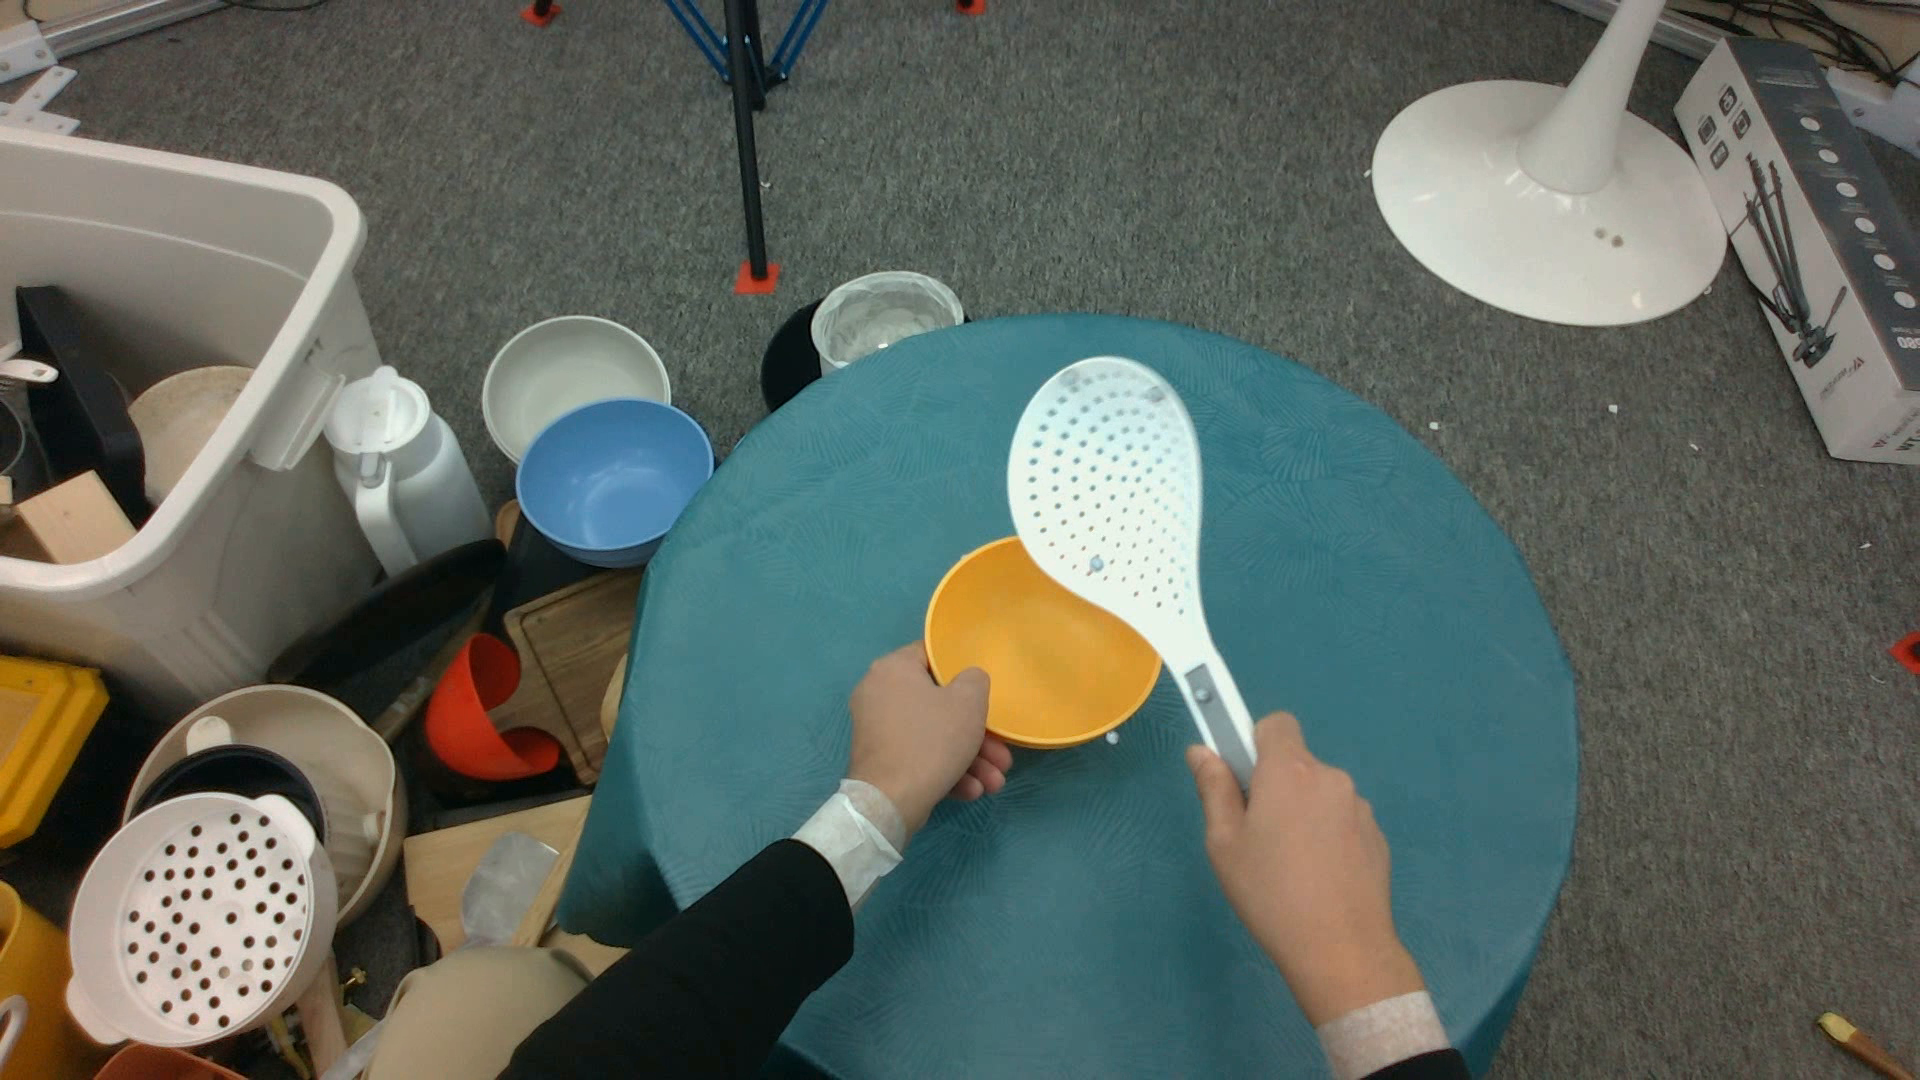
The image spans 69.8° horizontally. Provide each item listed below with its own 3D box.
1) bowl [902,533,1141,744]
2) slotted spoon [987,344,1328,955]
[{"bbox_3d":[0.036,0.070,0.847,0.145,0.060,0.146,1,54,-2],"label":"bowl"},{"bbox_3d":[0.110,0.050,0.743,0.046,0.135,0.350,9,53,-45],"label":"slotted spoon"}]
